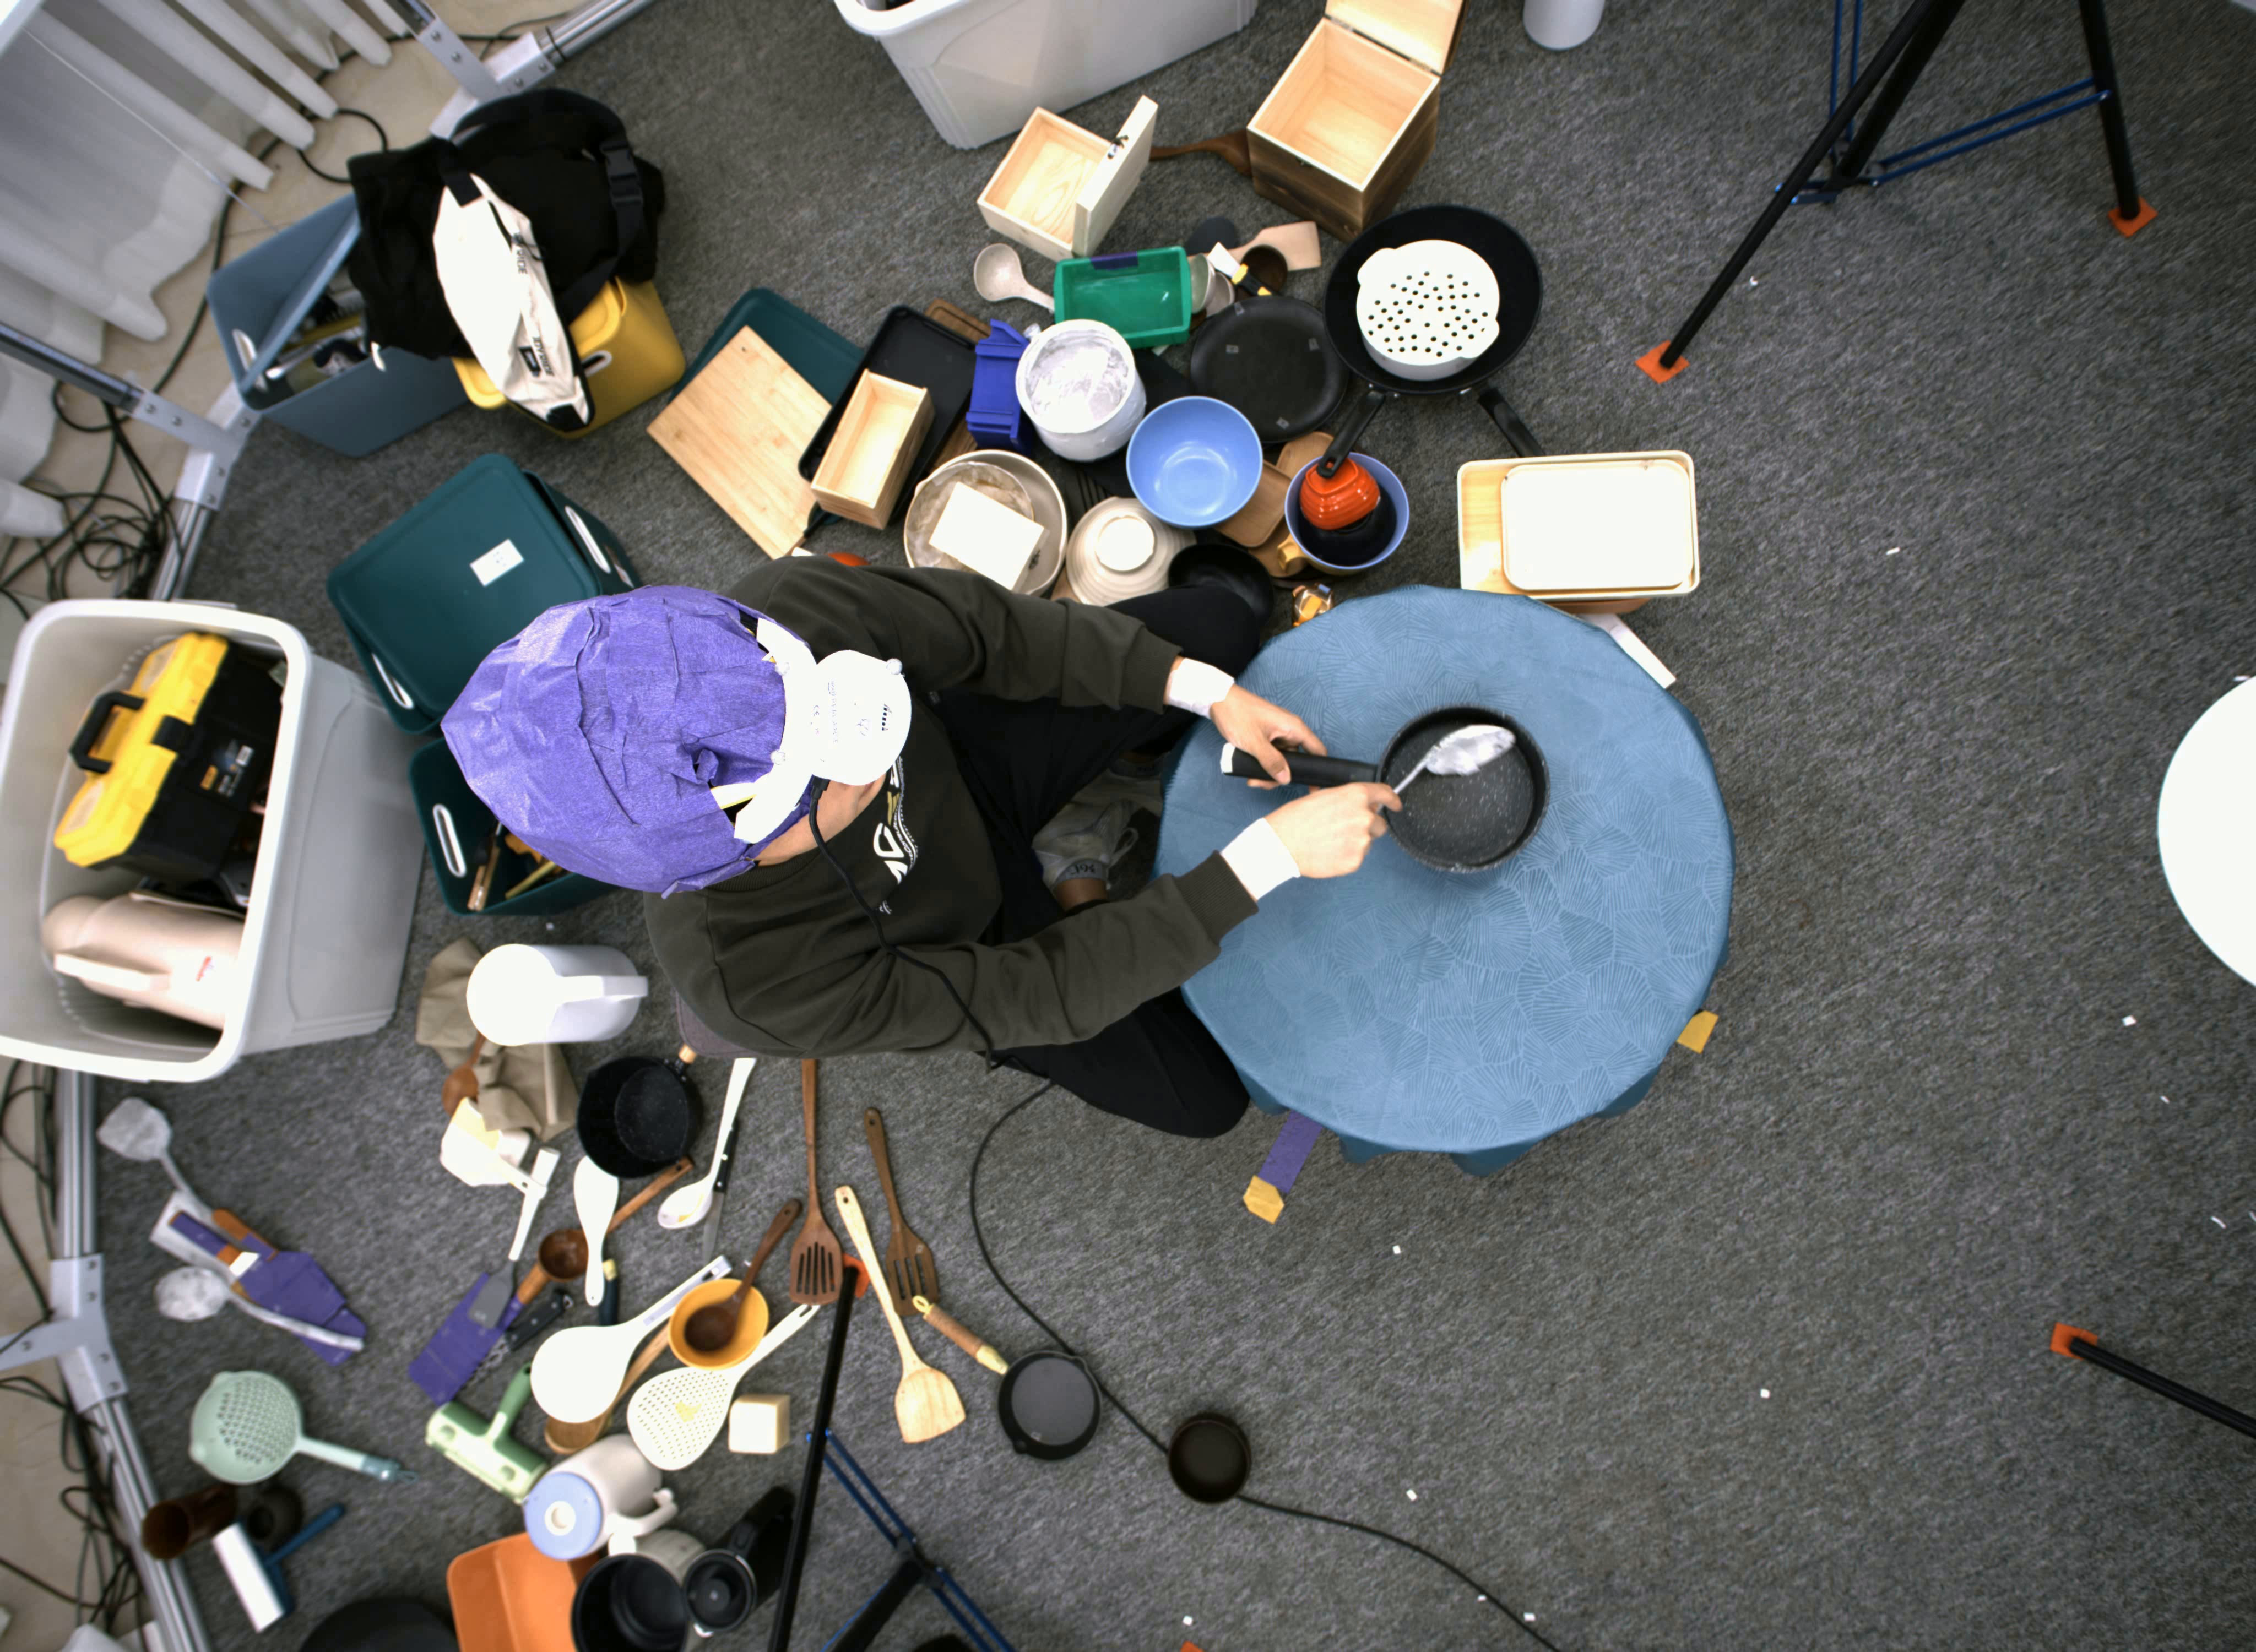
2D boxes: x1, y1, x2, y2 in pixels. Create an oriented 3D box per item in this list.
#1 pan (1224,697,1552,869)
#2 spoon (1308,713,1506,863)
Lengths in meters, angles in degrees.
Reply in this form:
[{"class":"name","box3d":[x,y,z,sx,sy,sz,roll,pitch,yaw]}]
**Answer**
[{"class":"pan","box3d":[0.263,-0.055,1.415,0.329,0.086,0.172,10,90,9]},{"class":"spoon","box3d":[0.276,-0.032,1.338,0.059,0.103,0.272,40,58,15]}]
